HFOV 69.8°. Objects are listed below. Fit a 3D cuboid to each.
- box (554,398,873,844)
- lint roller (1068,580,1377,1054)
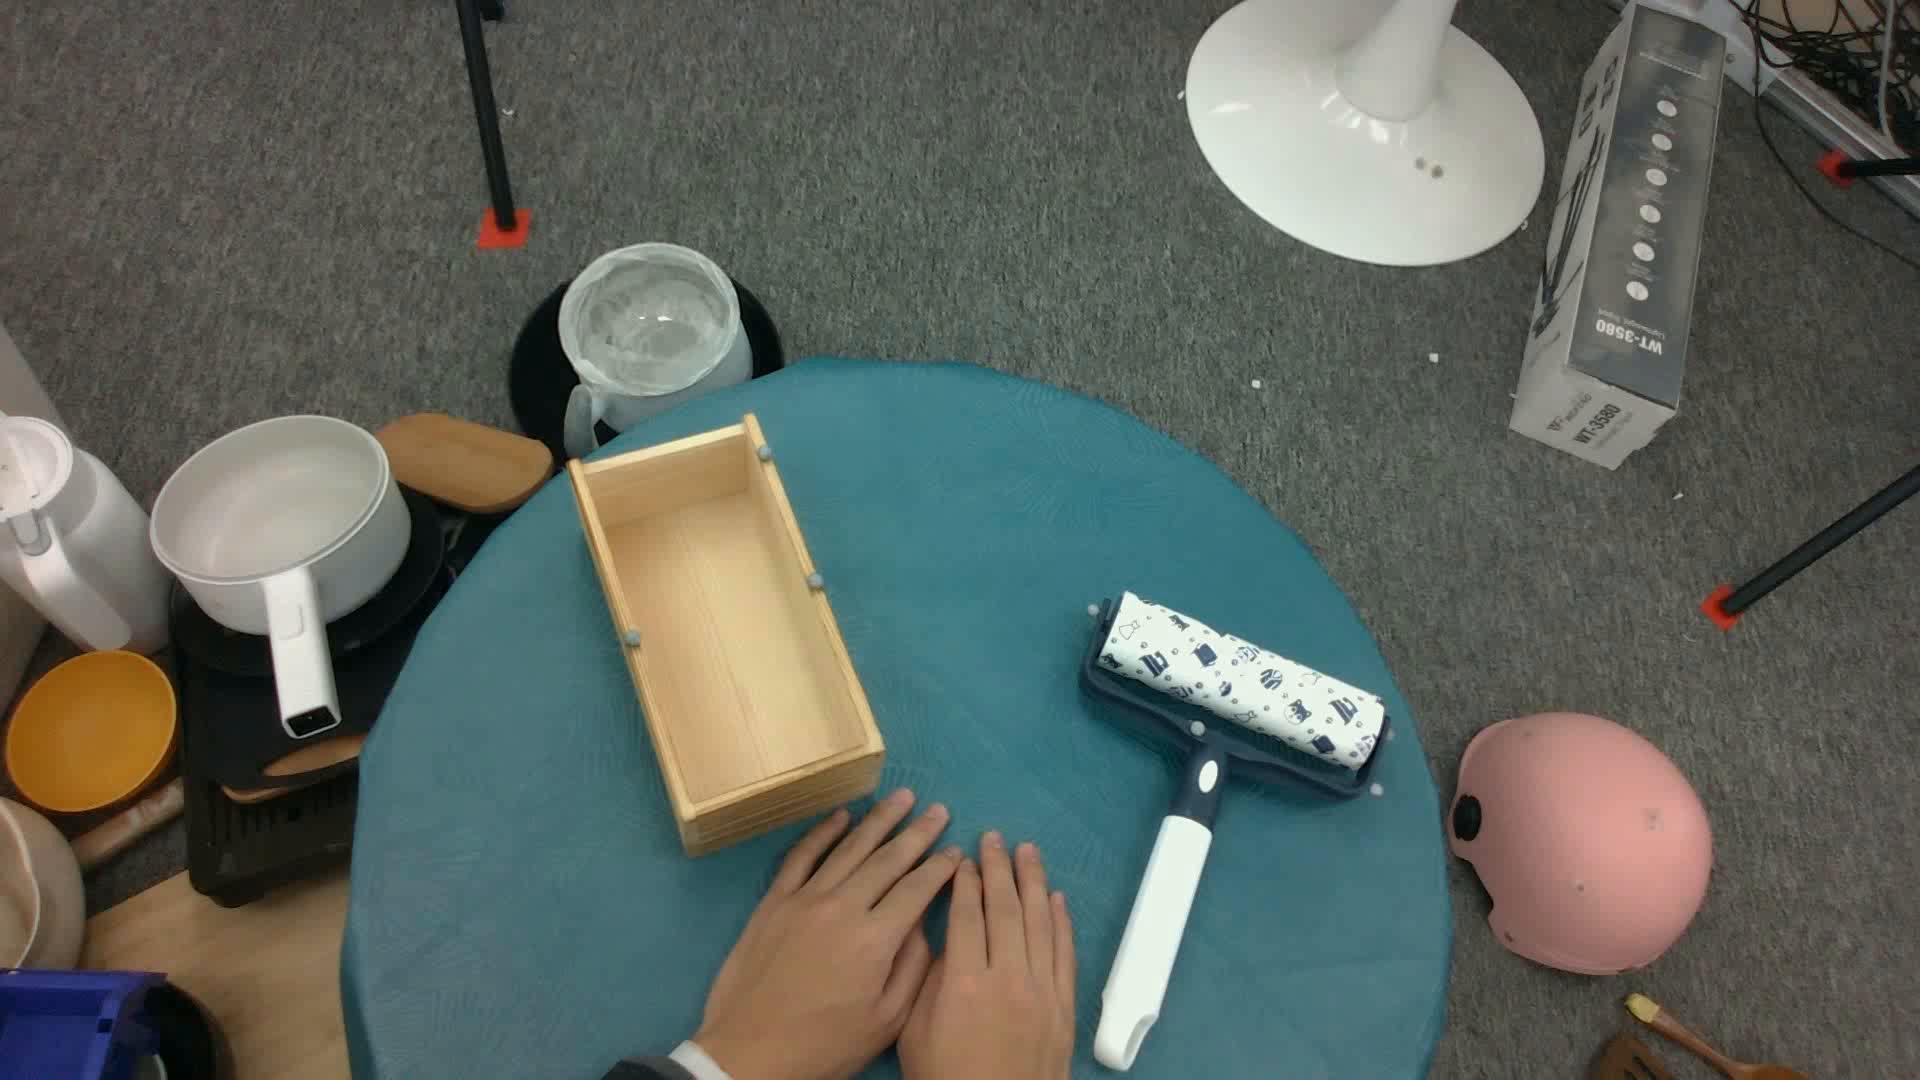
[{"bbox_3d":[-0.136,0.041,0.750,0.108,0.080,0.212,-18,67,-17],"label":"box"},{"bbox_3d":[0.118,0.157,0.753,0.176,0.050,0.248,23,63,2],"label":"lint roller"}]
